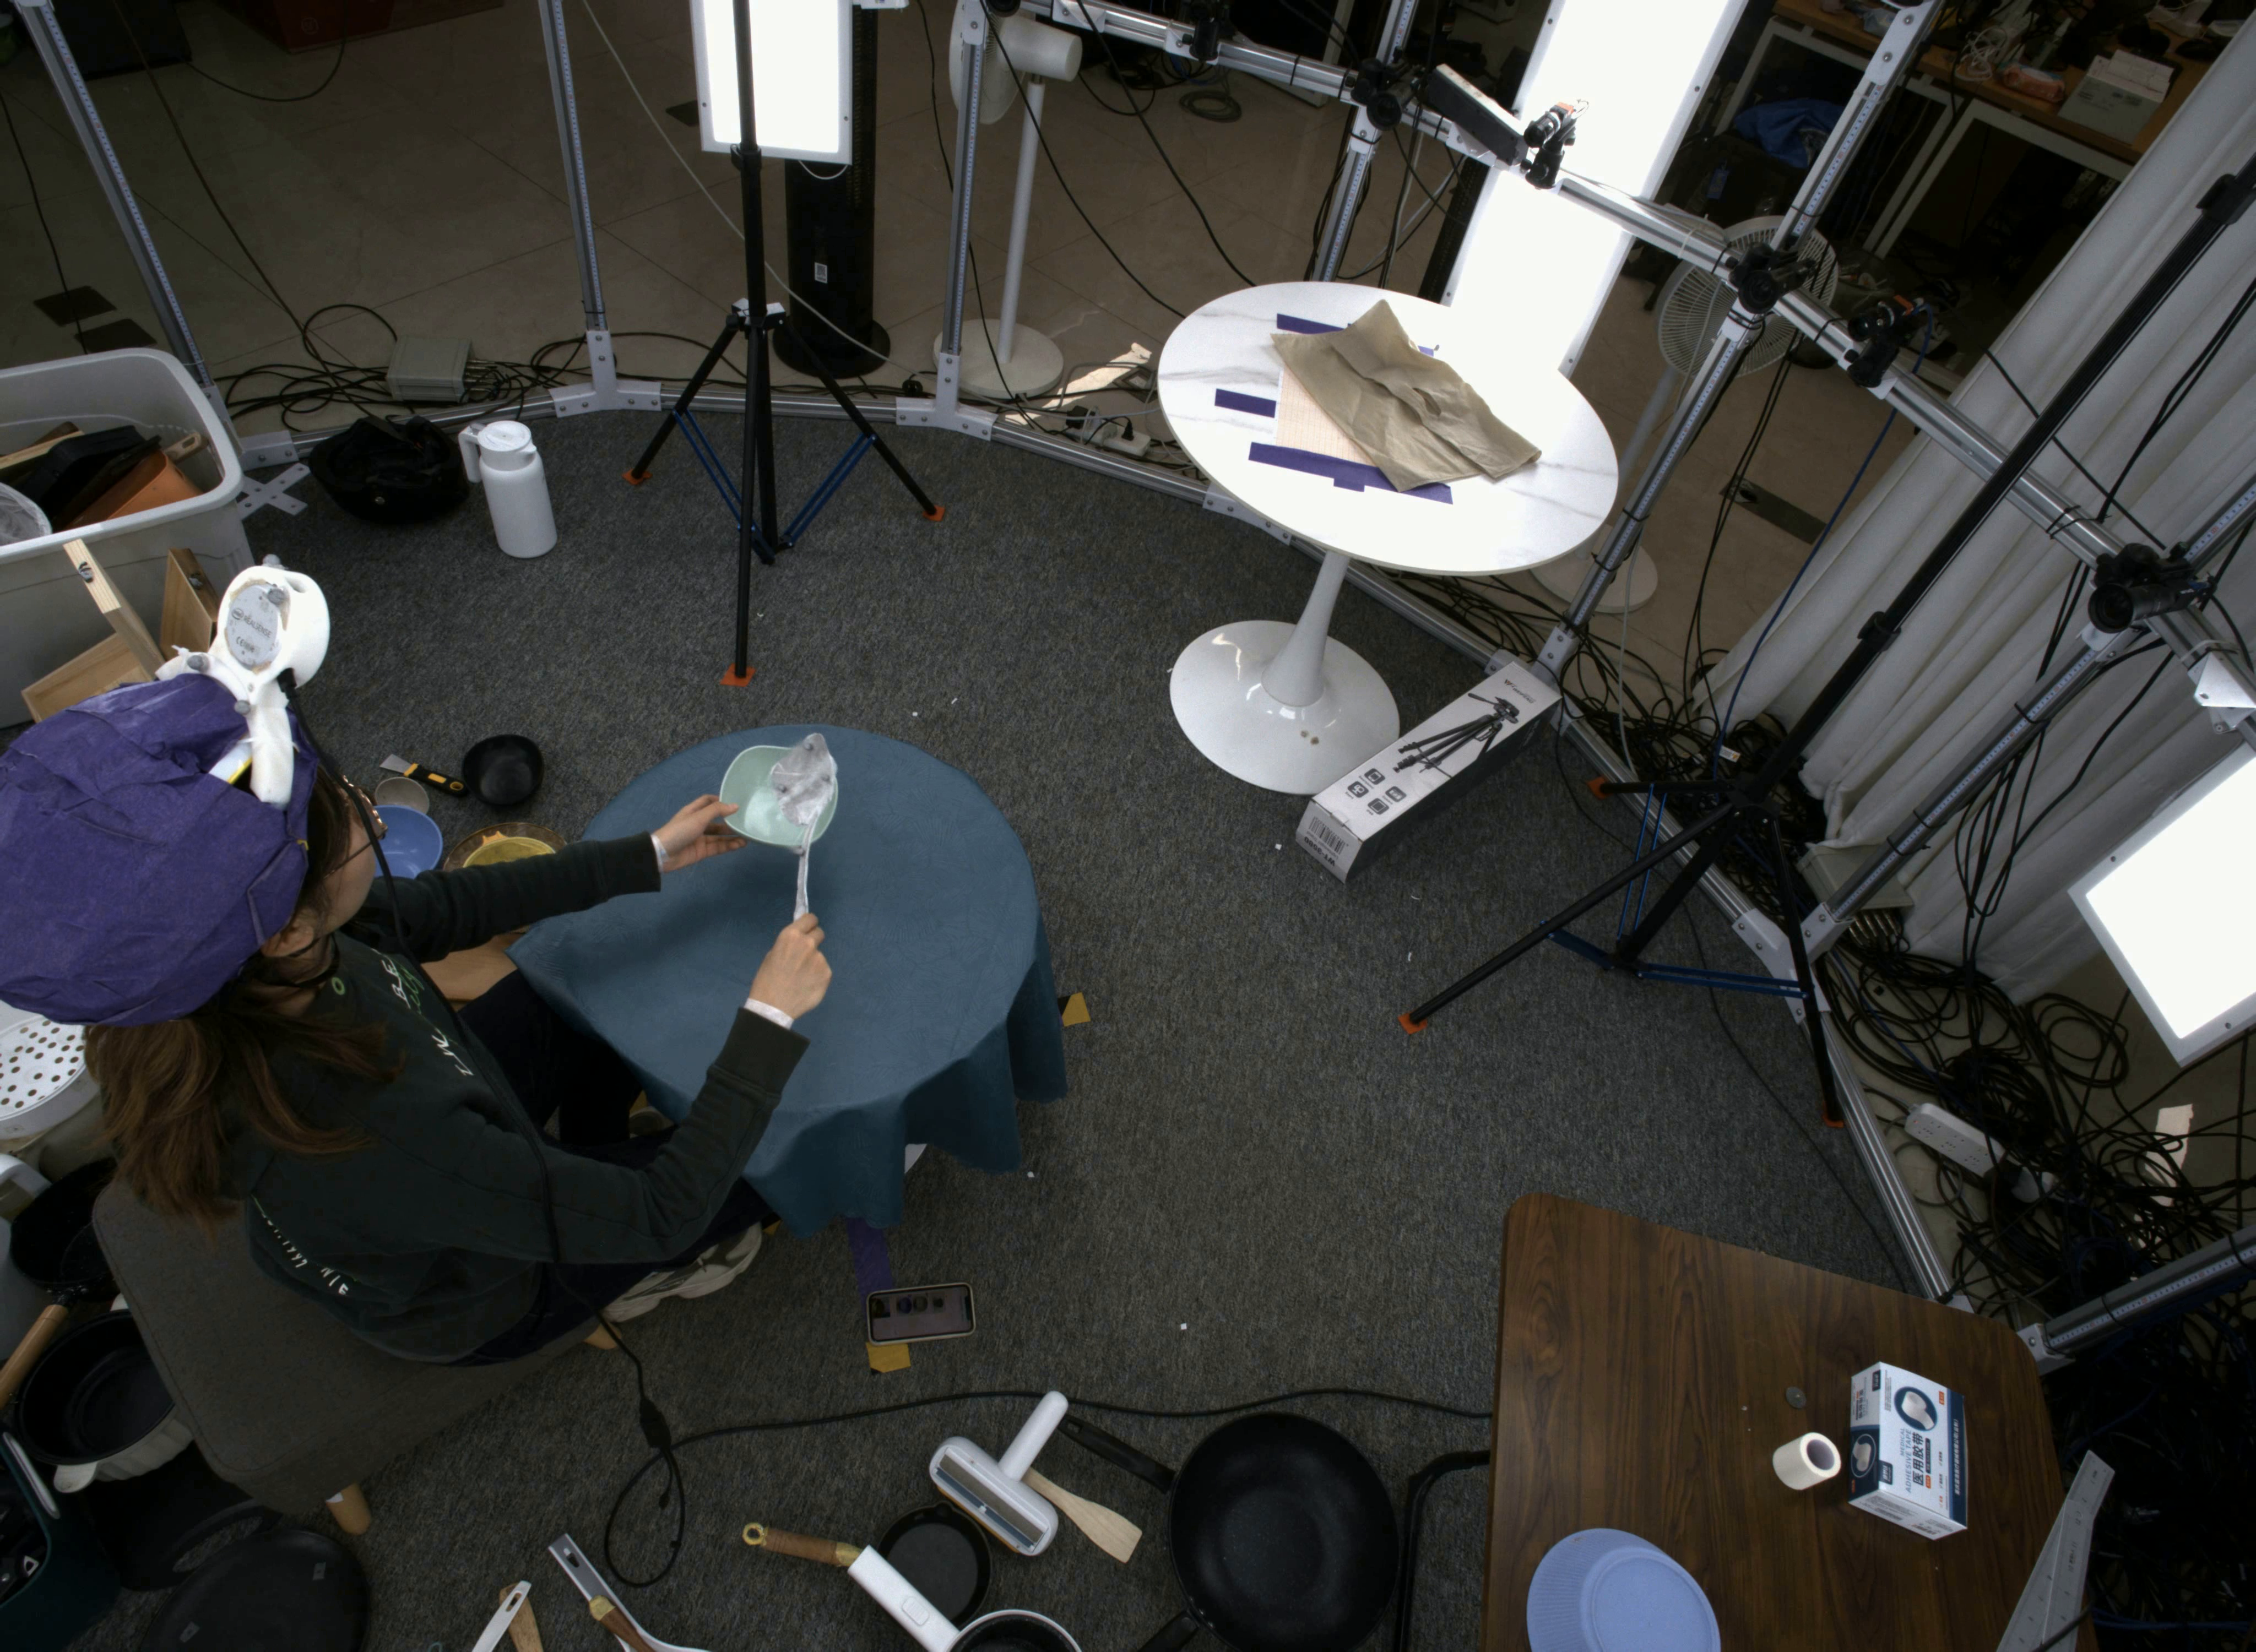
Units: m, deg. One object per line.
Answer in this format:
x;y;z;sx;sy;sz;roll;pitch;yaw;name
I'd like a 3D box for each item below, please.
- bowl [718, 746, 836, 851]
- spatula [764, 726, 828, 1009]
-0.436;-0.024;1.603;0.152;0.059;0.149;13;55;-16;bowl
-0.364;0.038;1.415;0.046;0.098;0.356;36;31;-38;spatula
